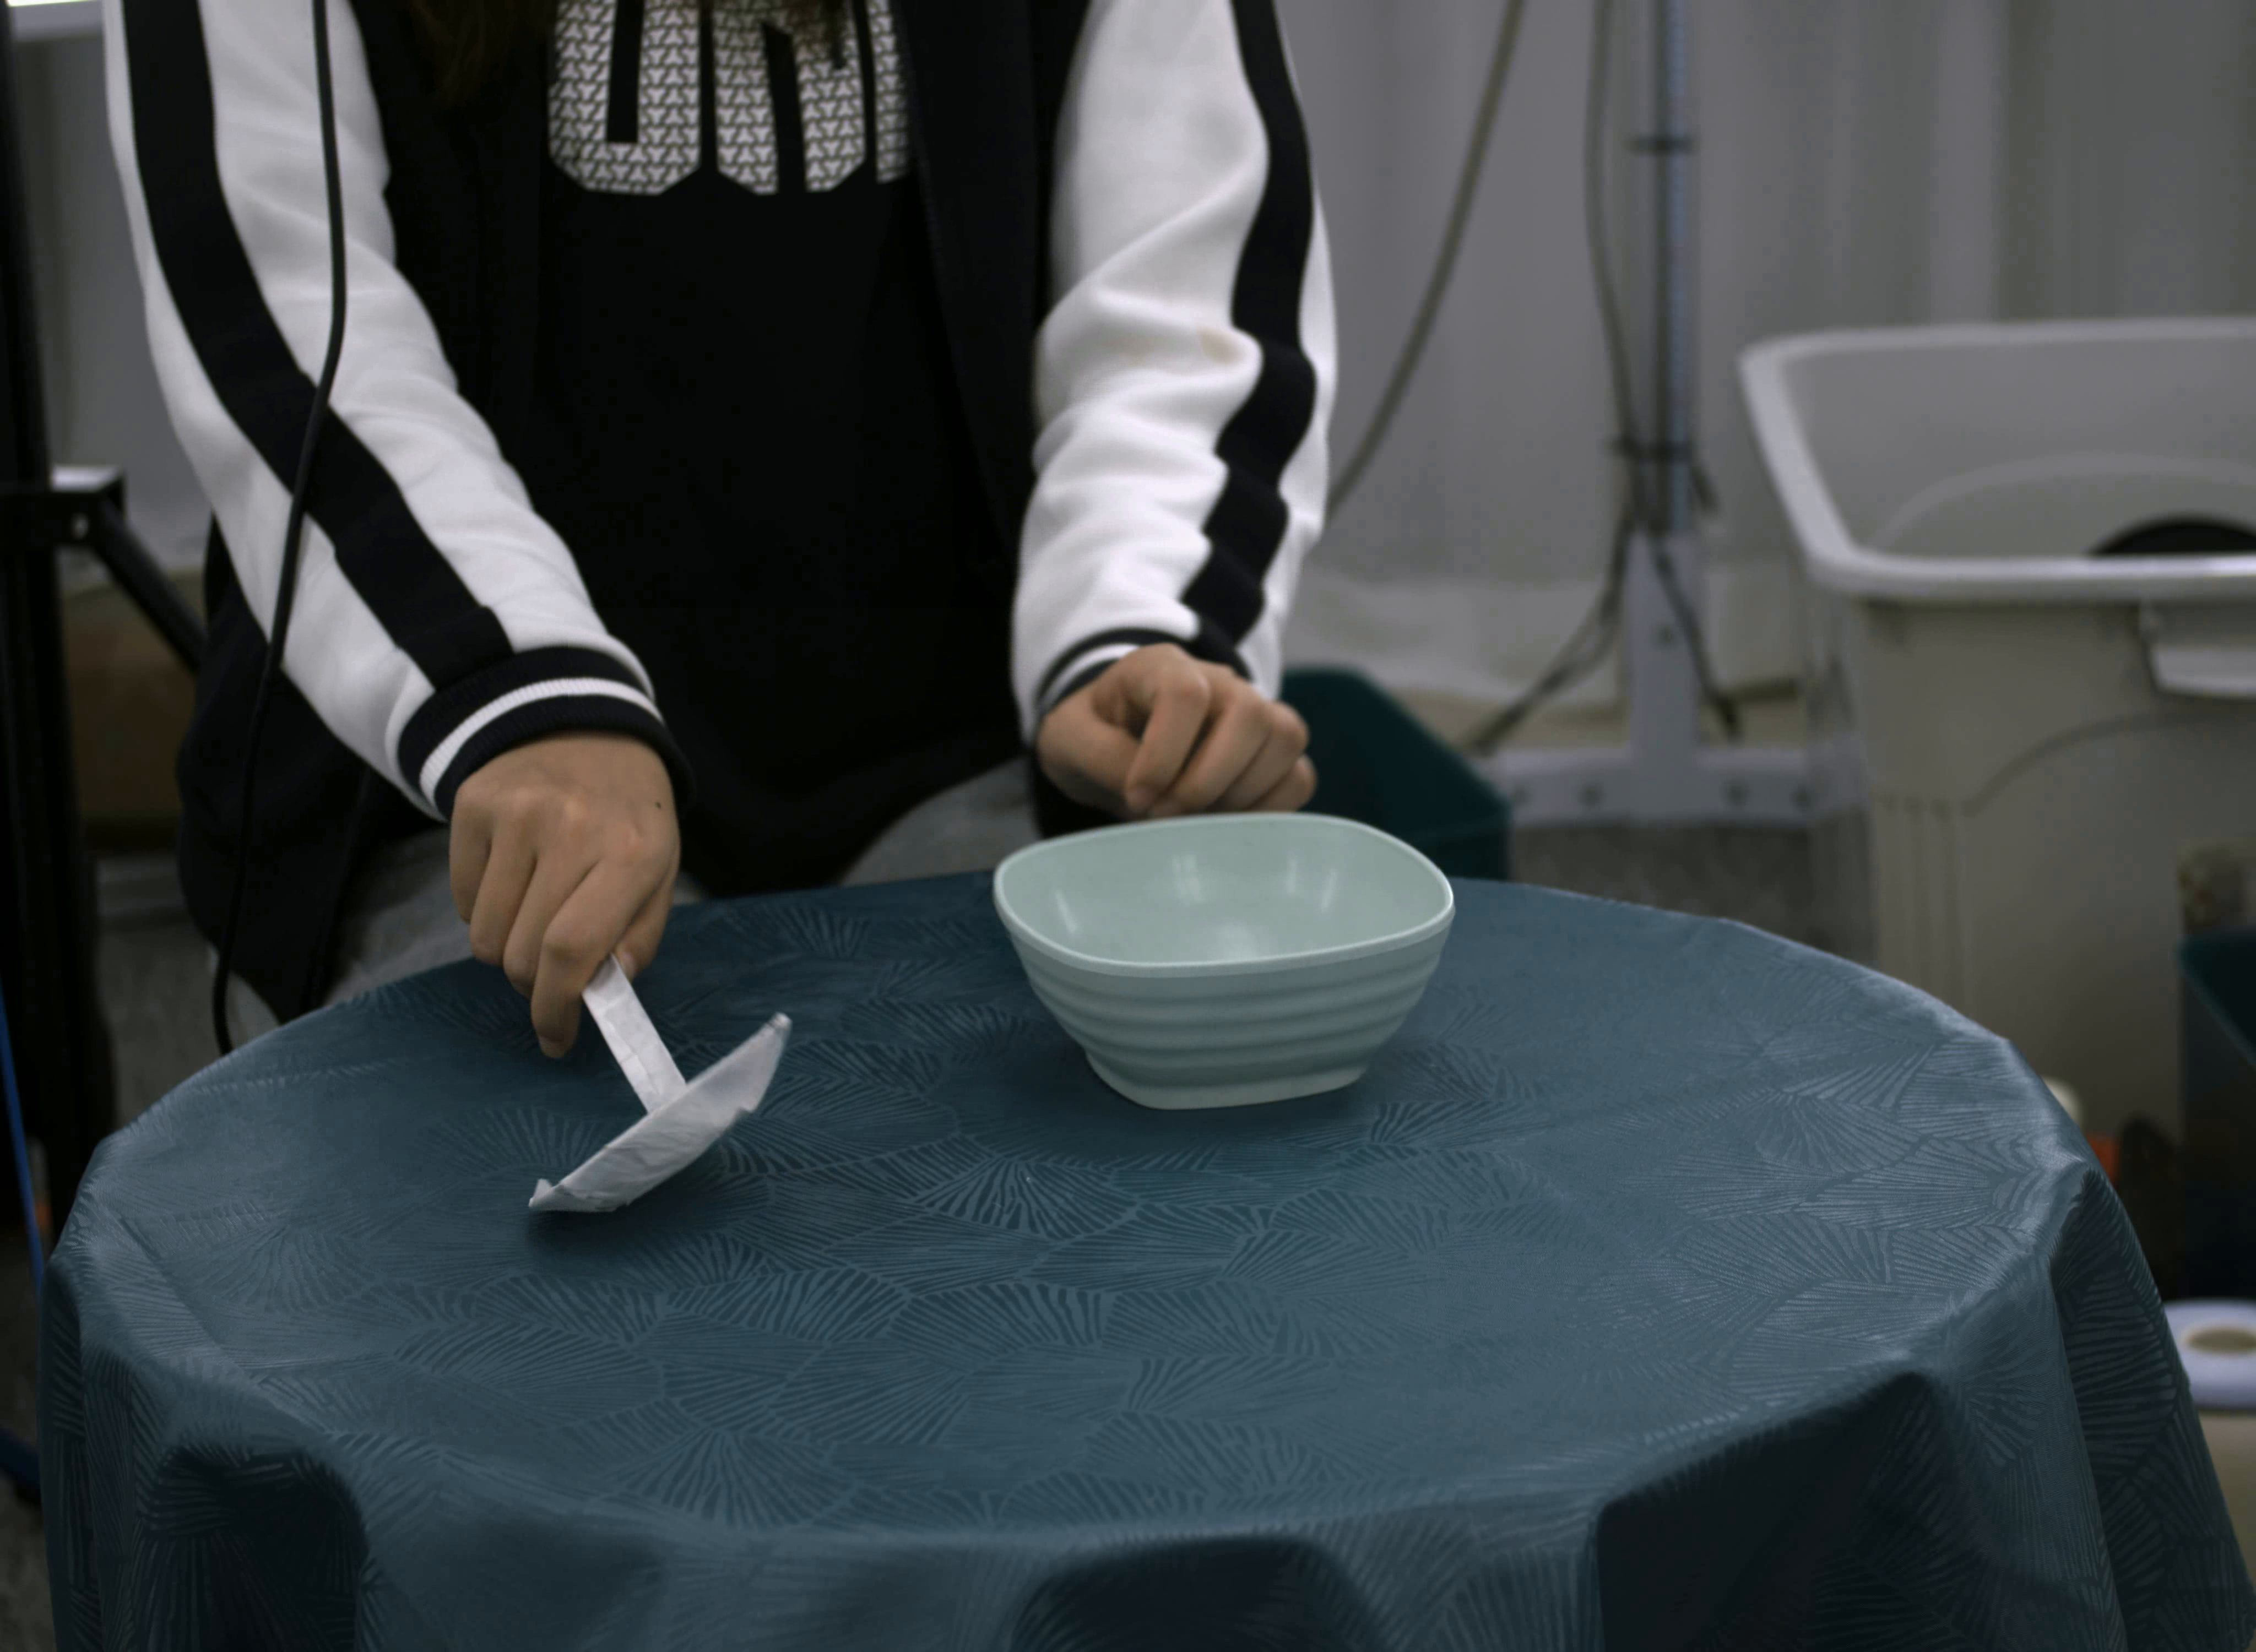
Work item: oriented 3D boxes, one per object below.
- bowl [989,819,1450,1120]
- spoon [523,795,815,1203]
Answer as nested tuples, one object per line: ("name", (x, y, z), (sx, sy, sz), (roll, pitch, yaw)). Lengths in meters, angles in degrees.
("bowl", (0.028, 0.048, 1.662), (0.150, 0.058, 0.152), (-1, 19, -1))
("spoon", (-0.160, 0.036, 1.640), (0.100, 0.058, 0.282), (-29, 32, -1))
